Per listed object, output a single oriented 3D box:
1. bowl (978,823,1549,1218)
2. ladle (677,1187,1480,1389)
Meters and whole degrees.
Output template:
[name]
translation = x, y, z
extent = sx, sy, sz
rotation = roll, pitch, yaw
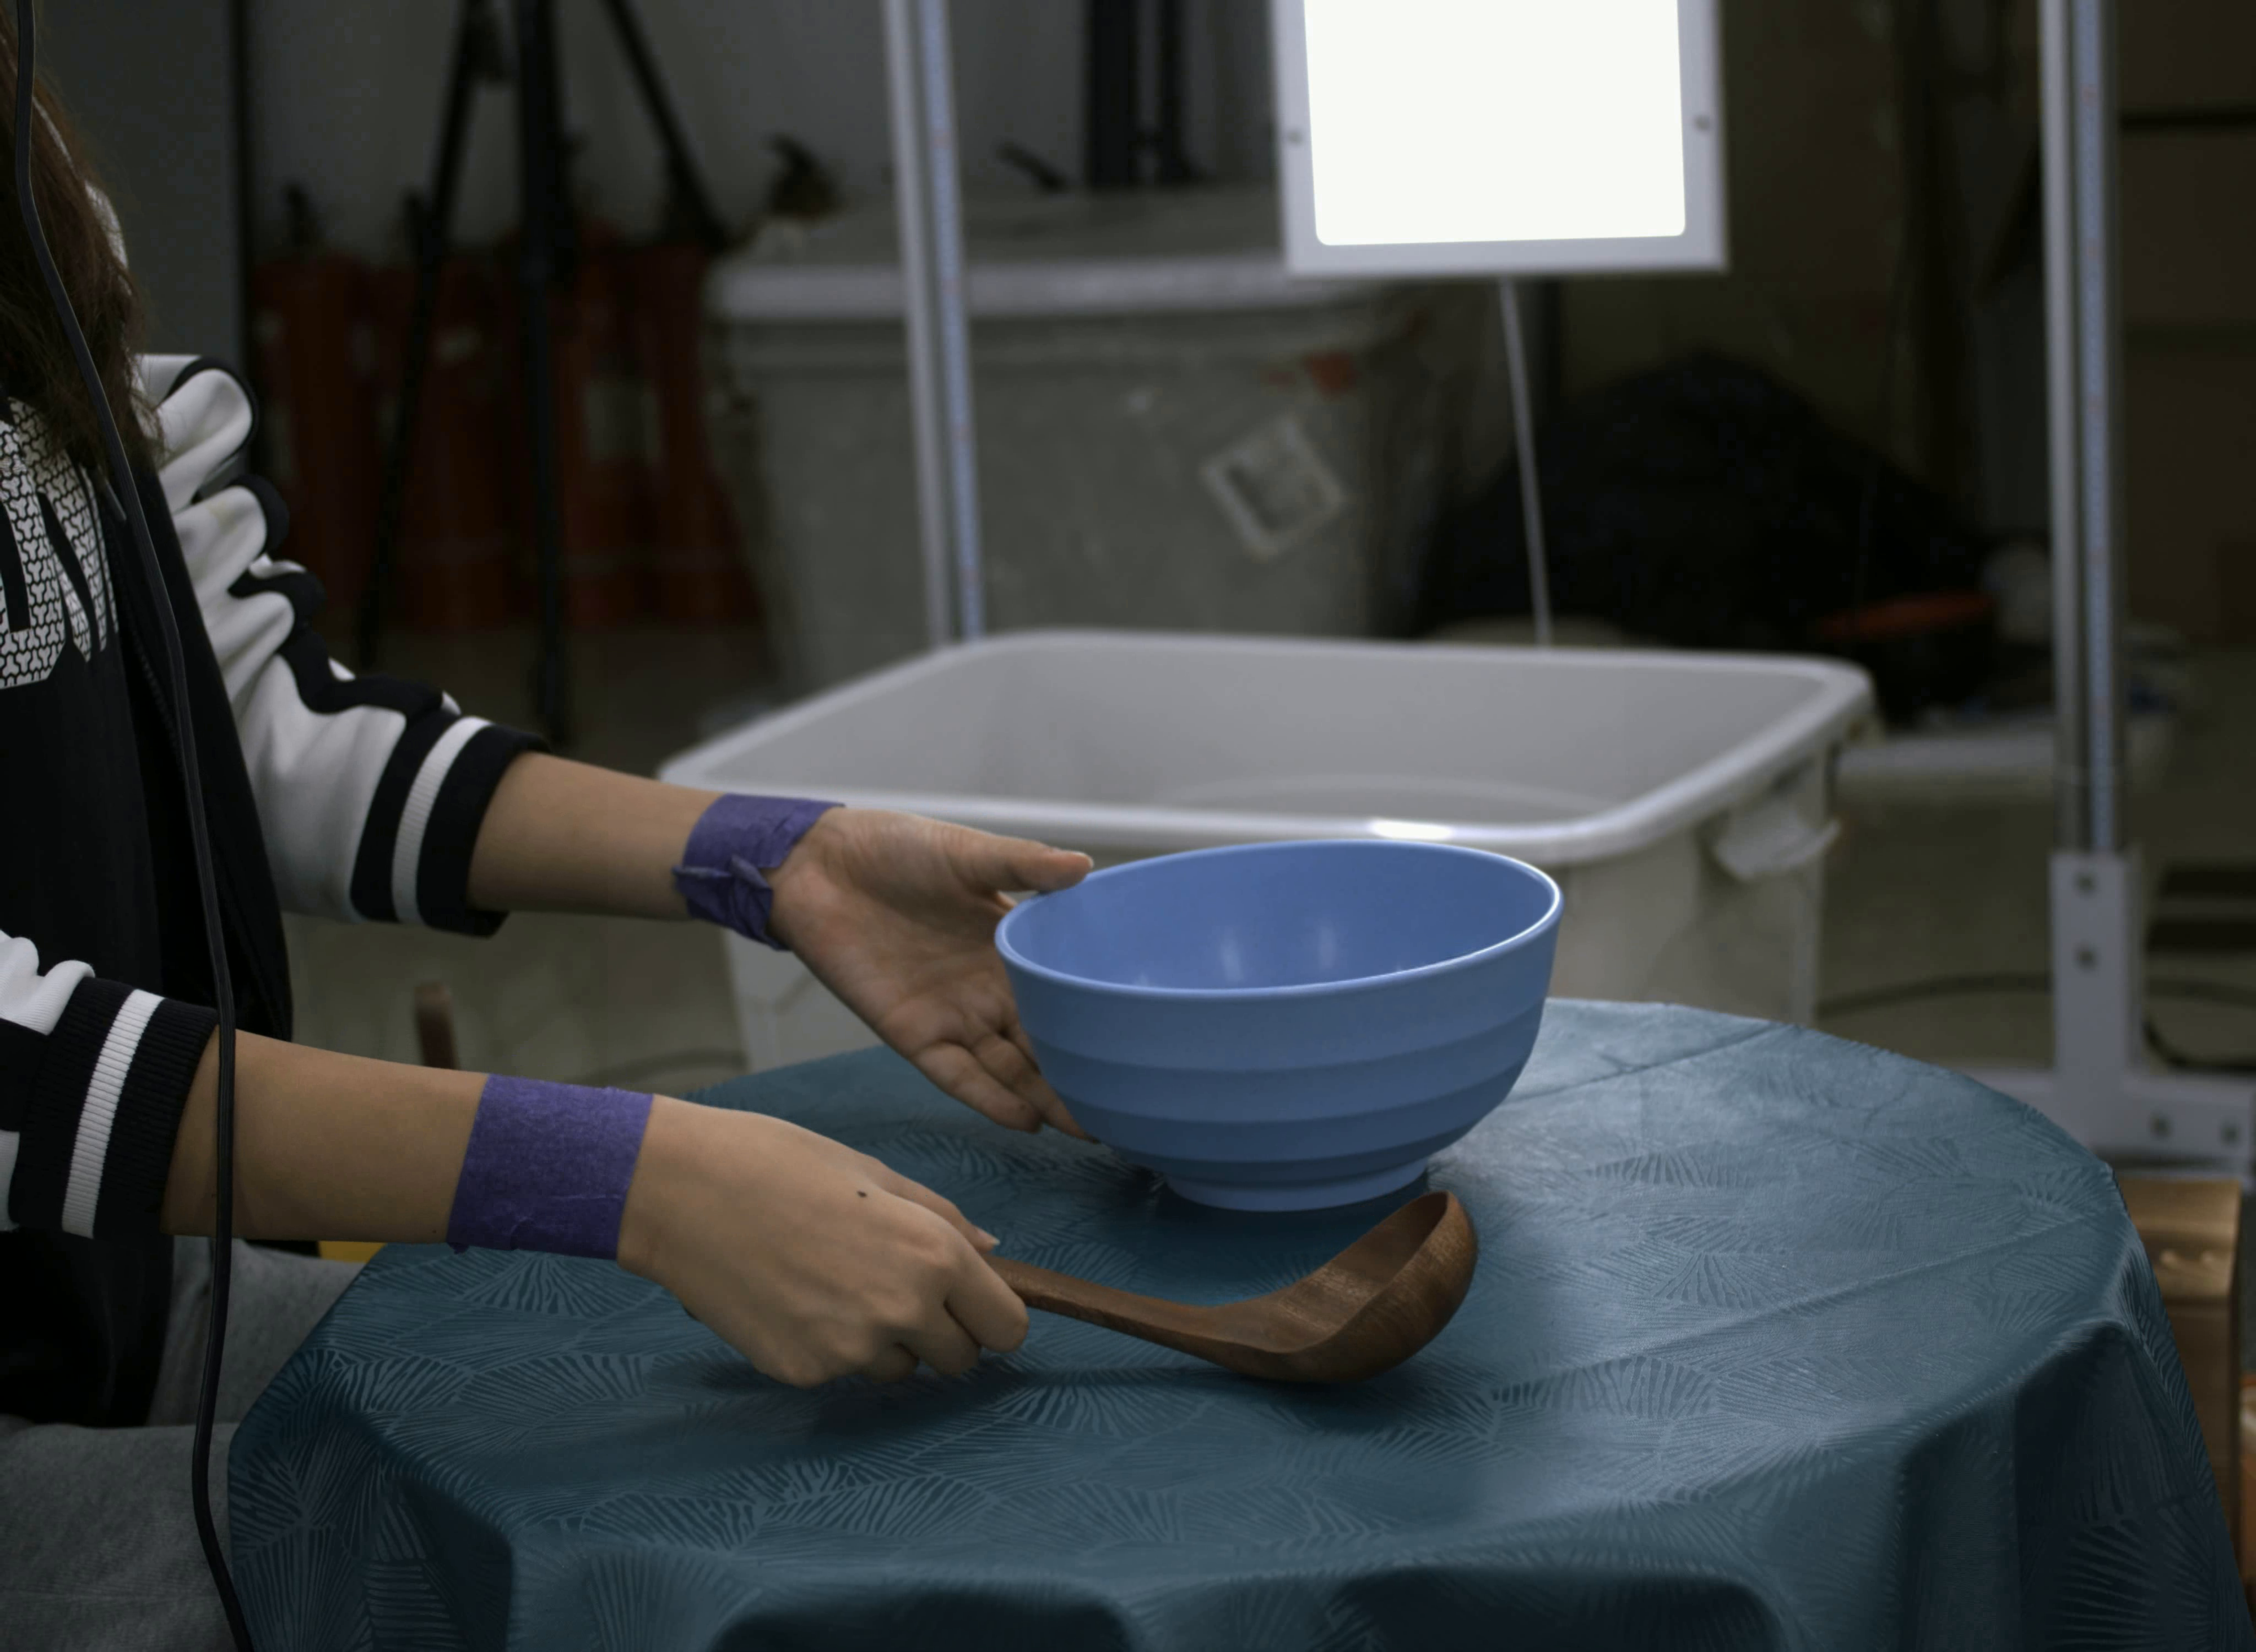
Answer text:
[bowl]
translation = 0.048, 0.074, 1.898
extent = 0.196, 0.096, 0.196
rotation = -3, 19, 0
[ladle]
translation = -0.018, 0.136, 1.712
extent = 0.263, 0.065, 0.075
rotation = 4, 21, 17
